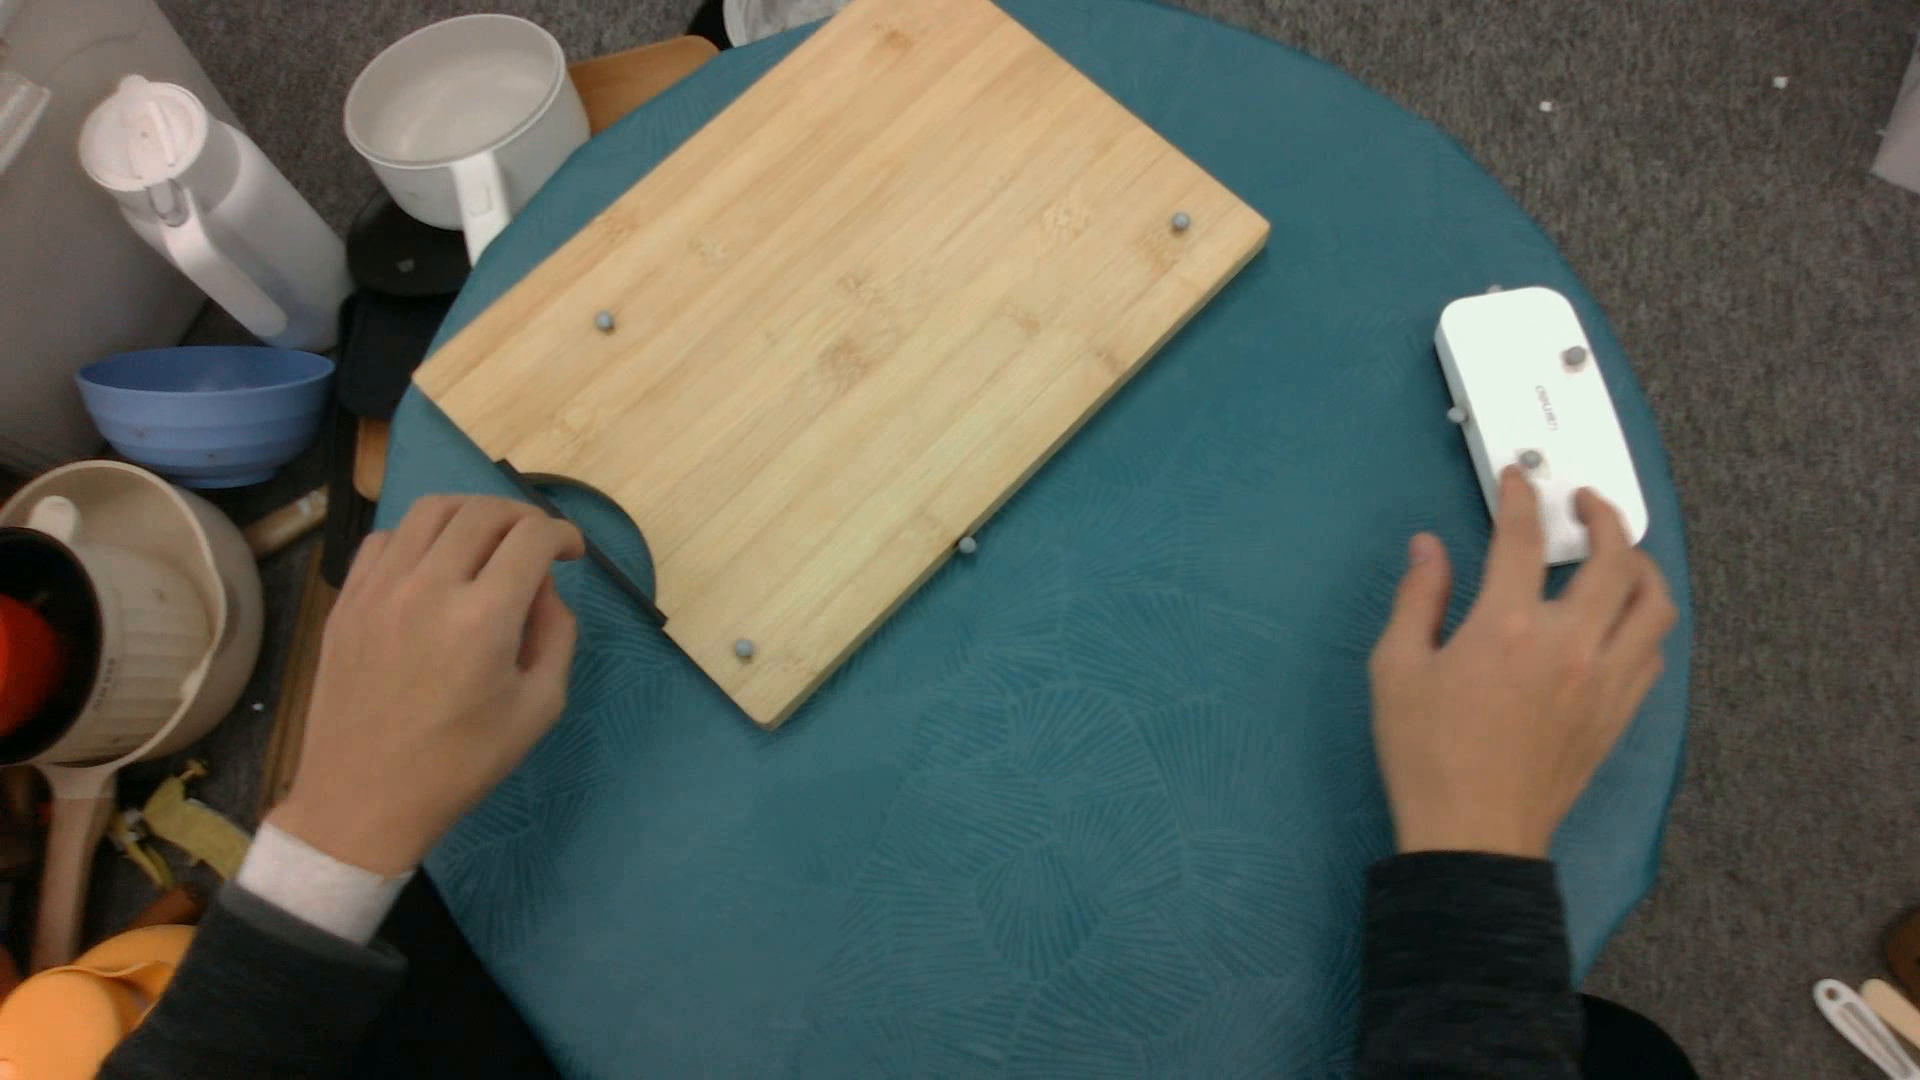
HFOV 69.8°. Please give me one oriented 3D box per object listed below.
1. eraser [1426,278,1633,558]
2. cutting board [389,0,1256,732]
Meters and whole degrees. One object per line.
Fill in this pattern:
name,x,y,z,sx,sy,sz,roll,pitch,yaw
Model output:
eraser,0.255,-0.057,0.627,0.063,0.034,0.131,-9,70,-2
cutting board,-0.060,-0.113,0.661,0.251,0.023,0.349,41,77,14
